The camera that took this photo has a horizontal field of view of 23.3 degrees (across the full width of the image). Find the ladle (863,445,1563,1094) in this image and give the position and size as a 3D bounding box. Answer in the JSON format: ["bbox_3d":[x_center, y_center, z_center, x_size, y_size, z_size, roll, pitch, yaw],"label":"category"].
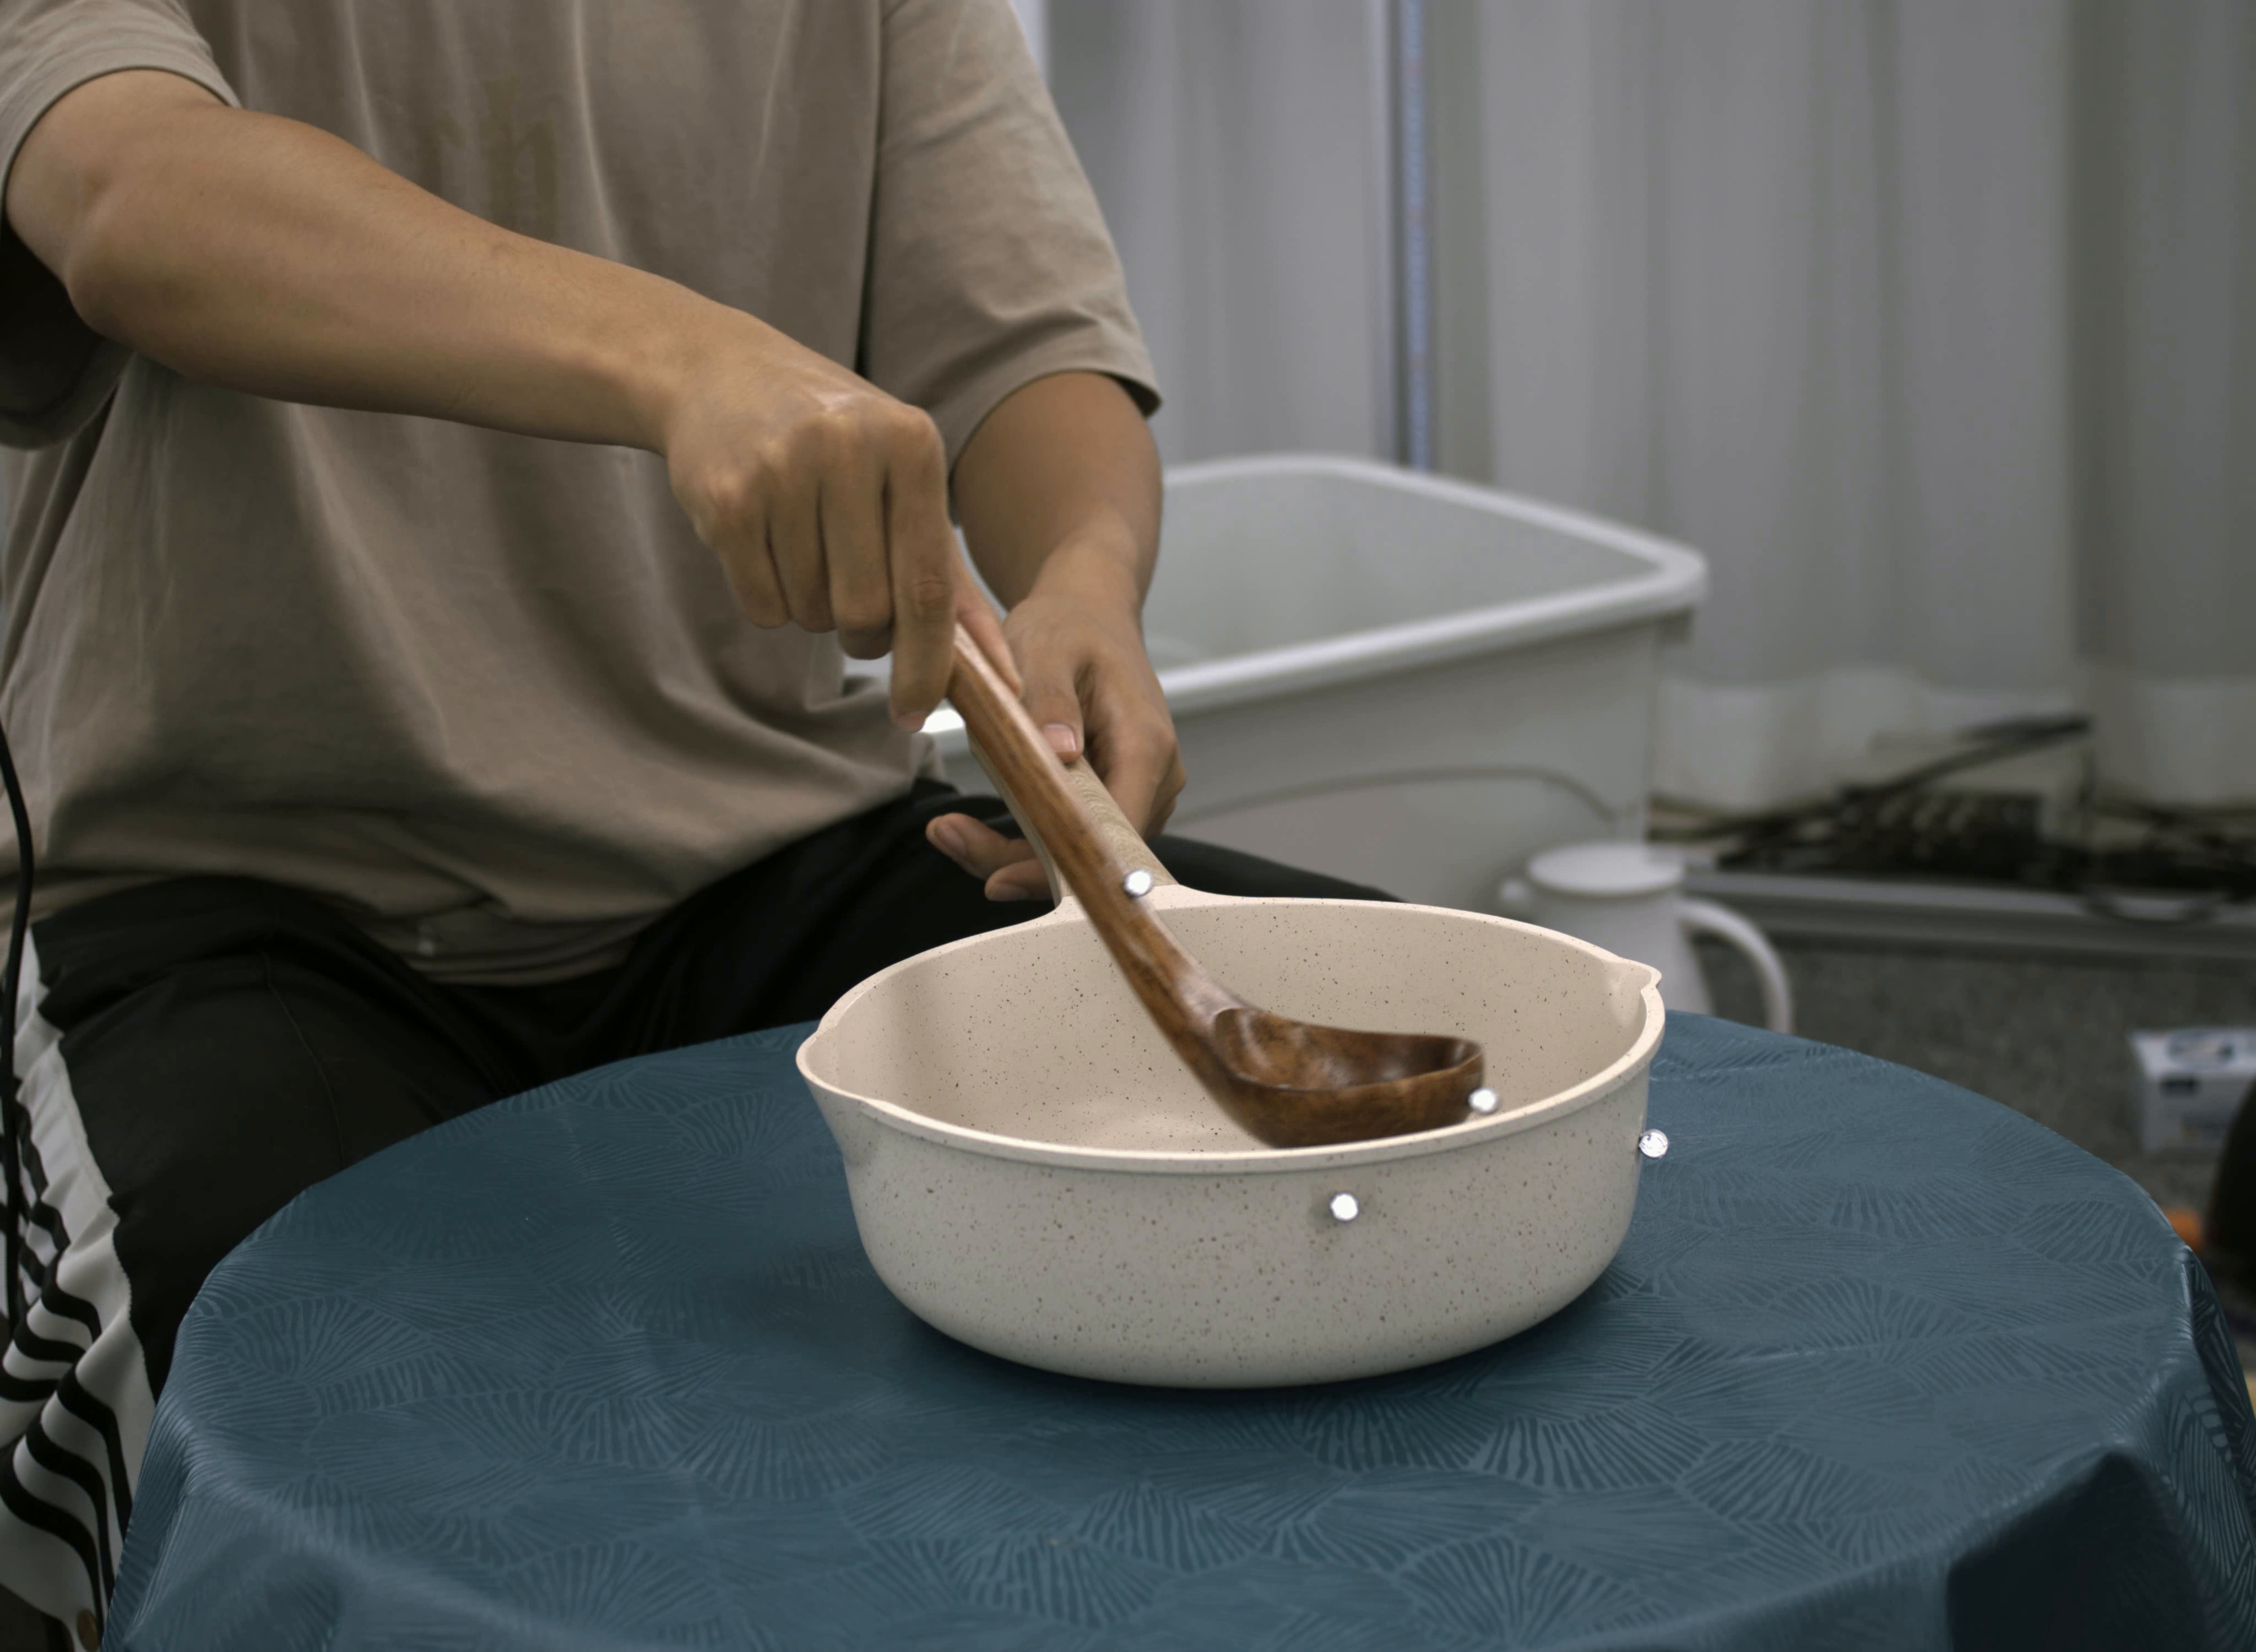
[{"bbox_3d":[0.025,-0.020,1.608,0.076,0.275,0.082,-38,-10,21],"label":"ladle"}]

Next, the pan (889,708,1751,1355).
[{"bbox_3d":[0.037,0.058,1.711,0.262,0.101,0.438,-8,15,-13],"label":"pan"}]
